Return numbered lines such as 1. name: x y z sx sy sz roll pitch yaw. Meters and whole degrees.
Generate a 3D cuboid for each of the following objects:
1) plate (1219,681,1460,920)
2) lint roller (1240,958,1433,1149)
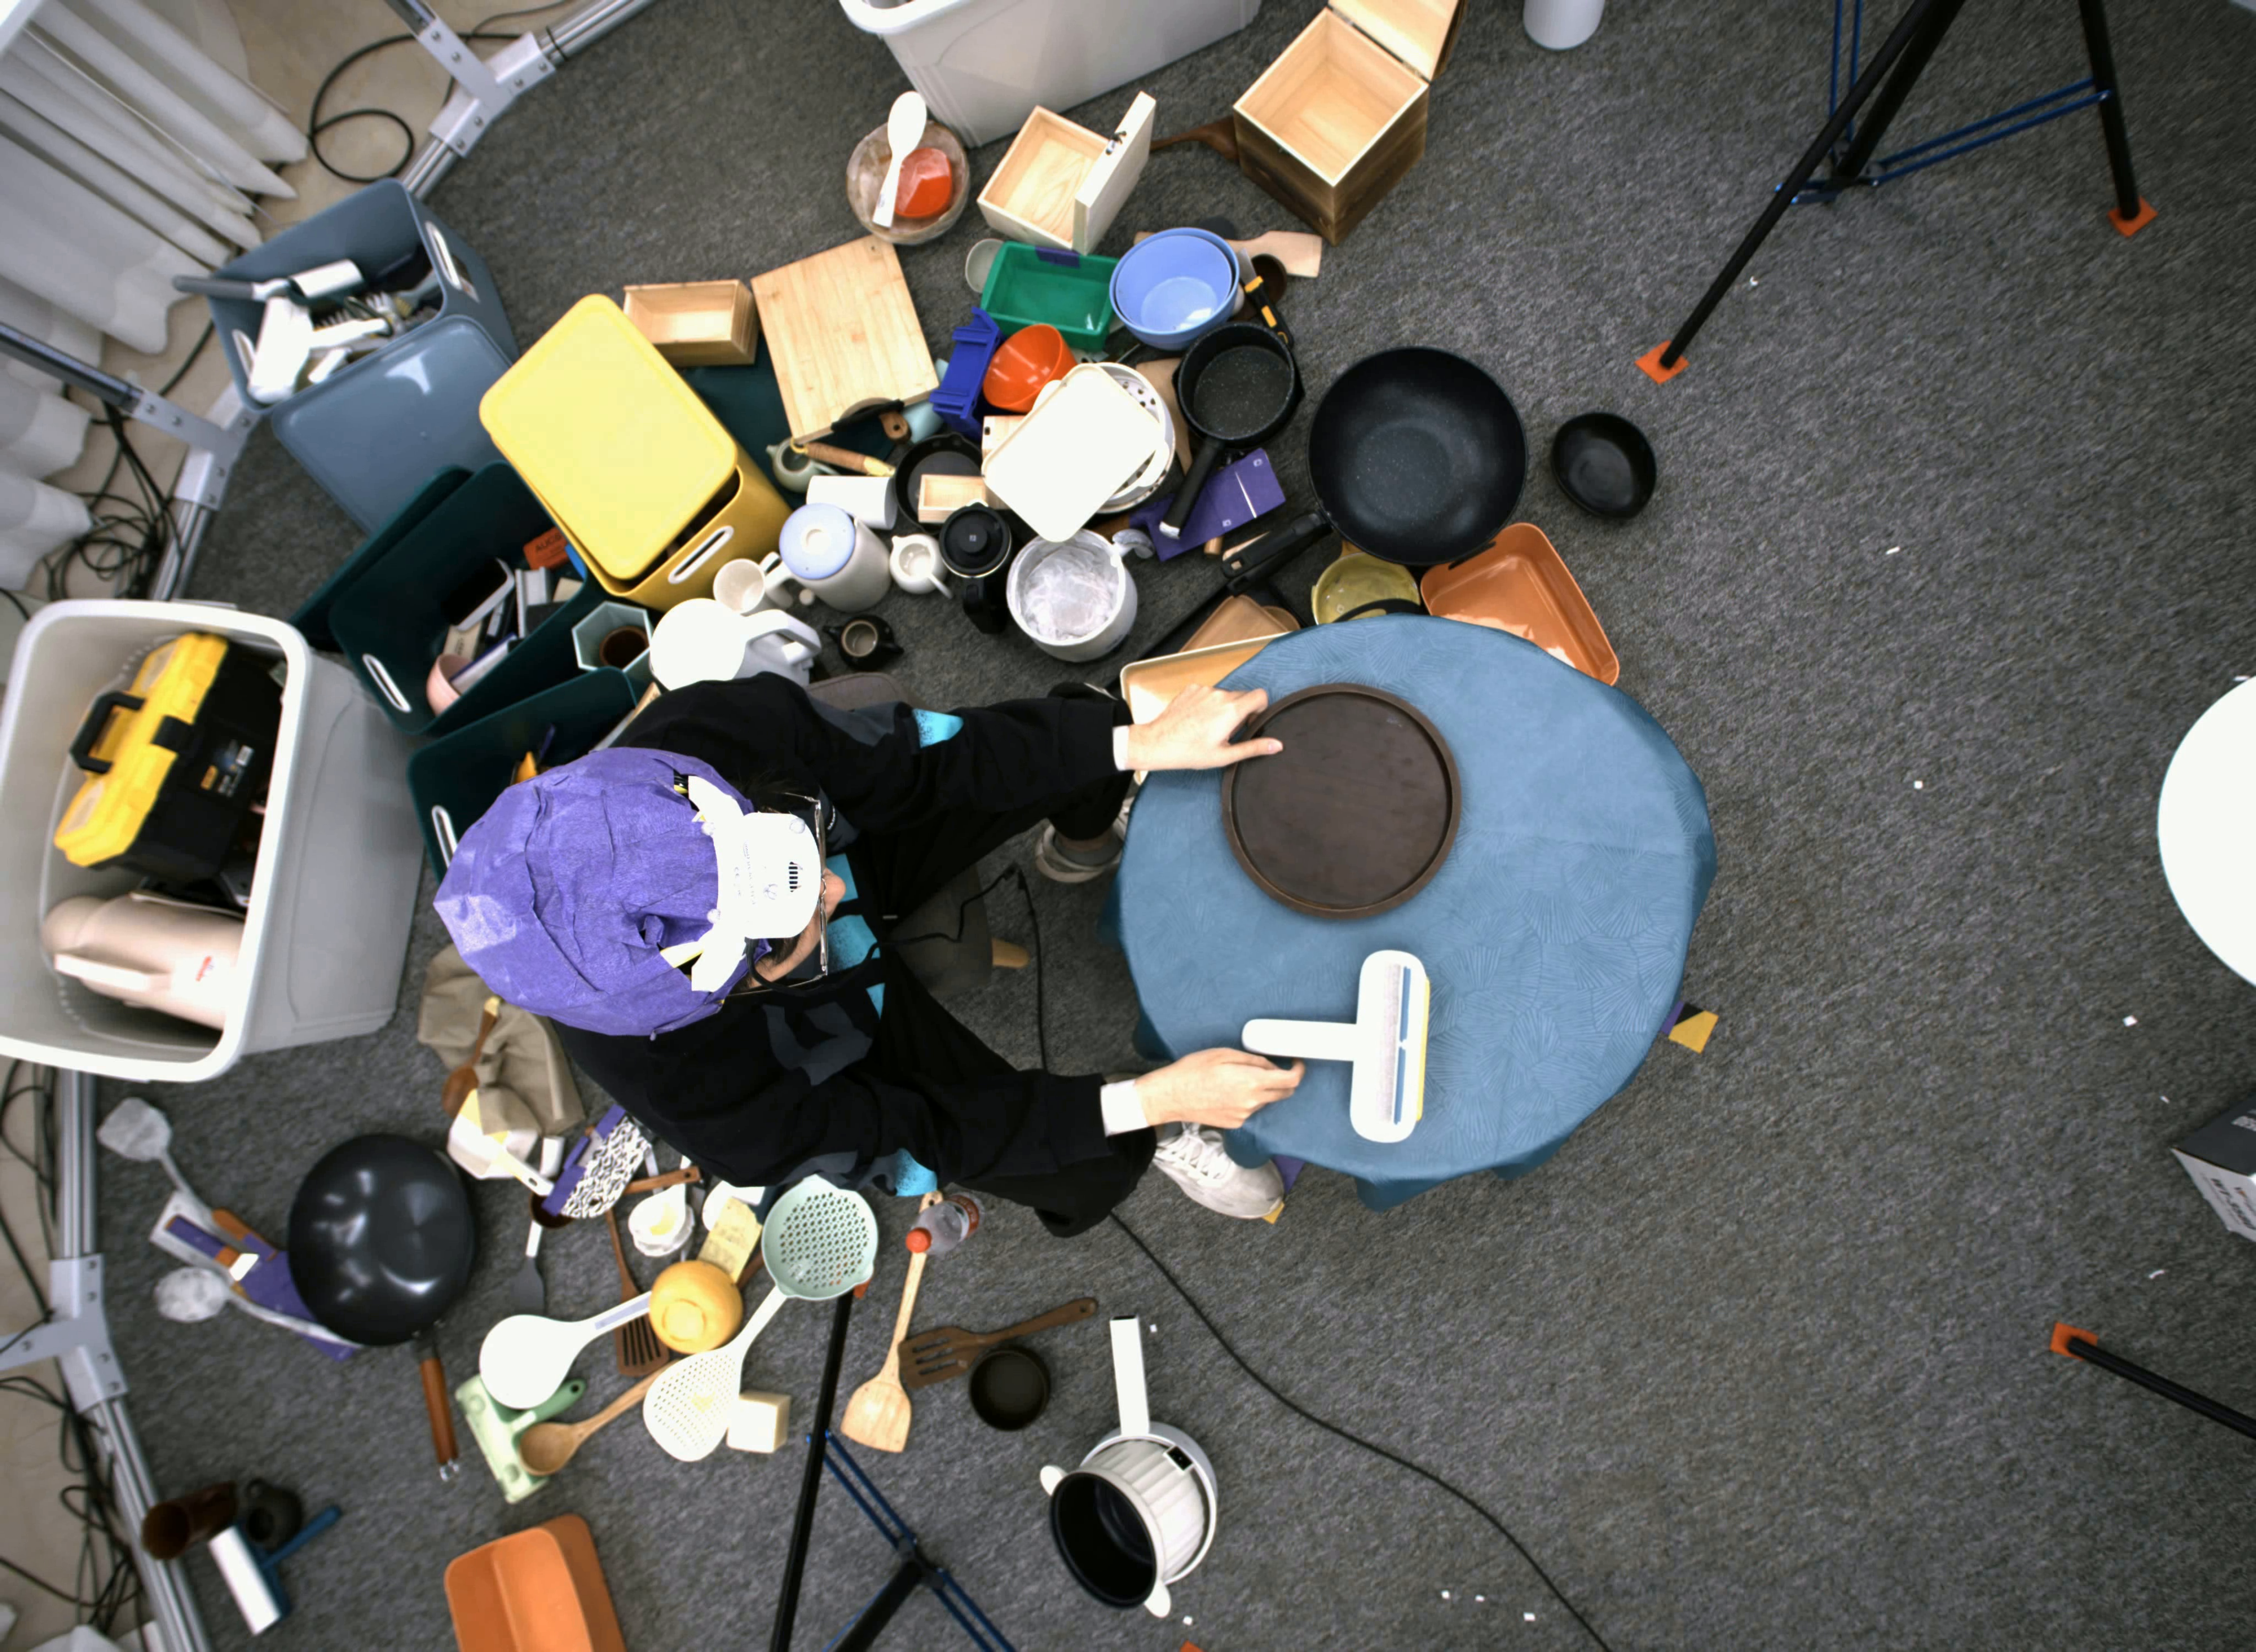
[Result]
1. plate: 0.223 -0.028 1.457 0.256 0.029 0.254 -1 88 11
2. lint roller: 0.208 0.223 1.425 0.193 0.074 0.191 8 83 12
